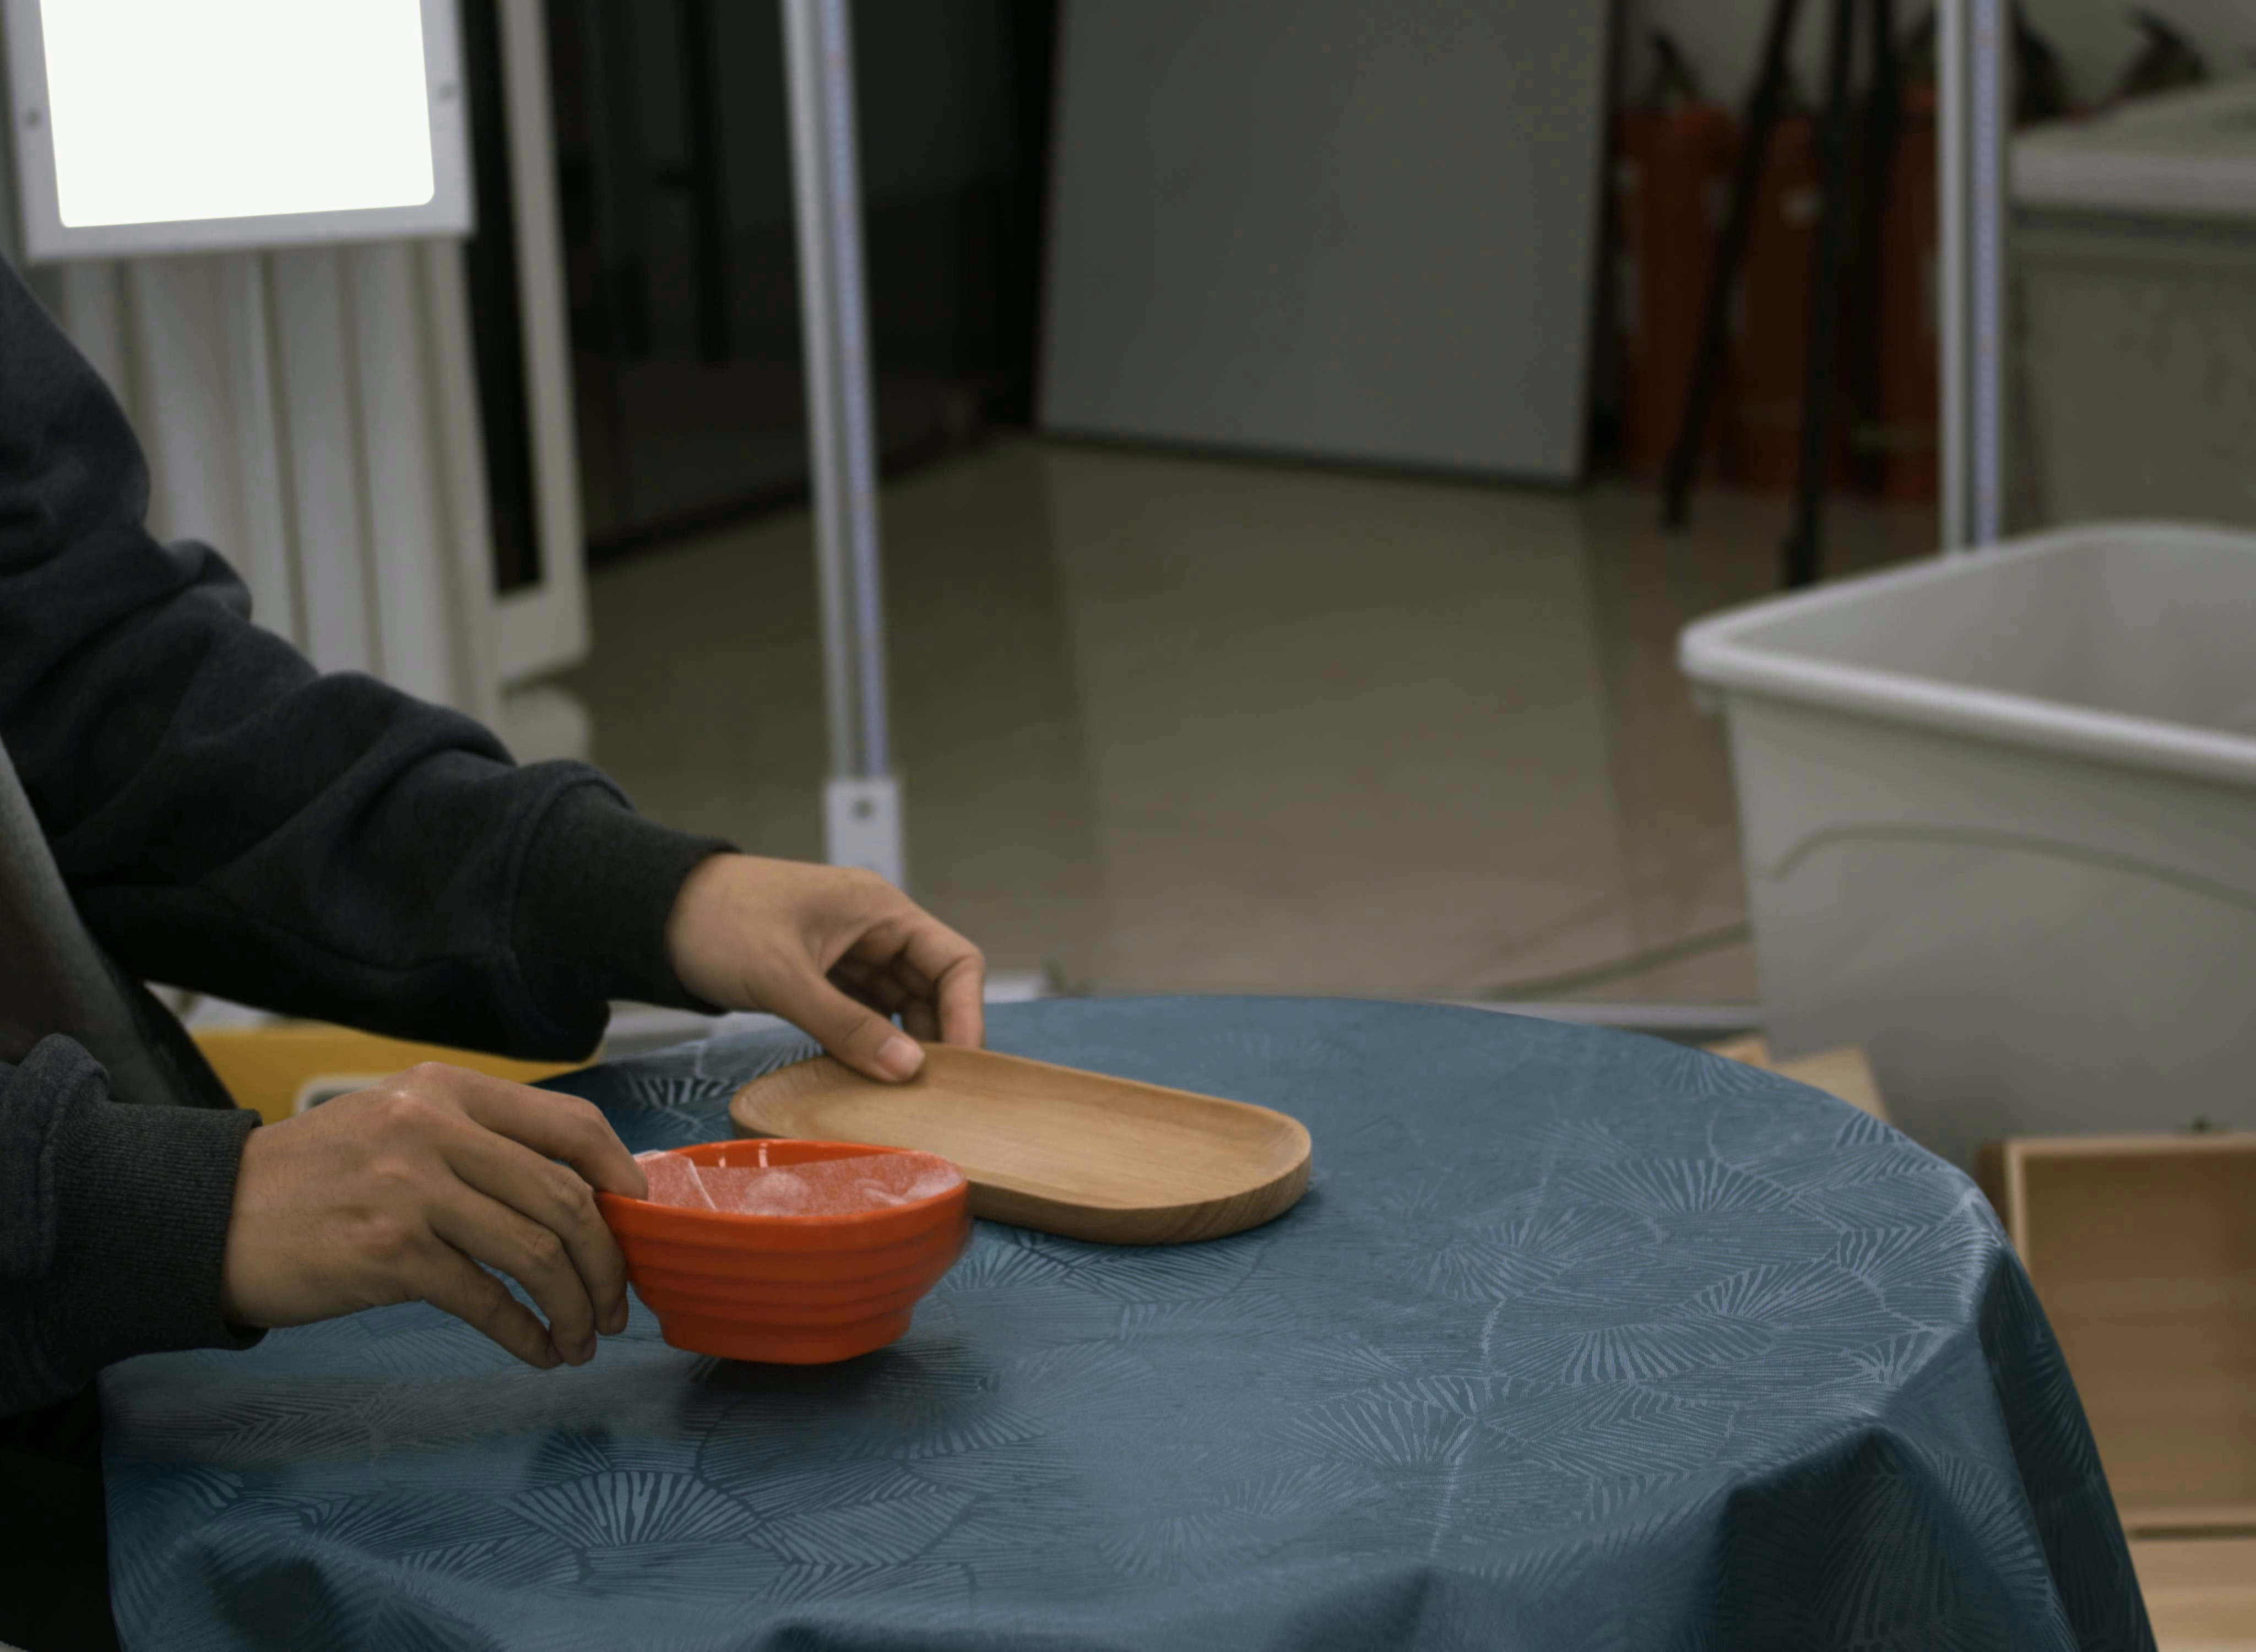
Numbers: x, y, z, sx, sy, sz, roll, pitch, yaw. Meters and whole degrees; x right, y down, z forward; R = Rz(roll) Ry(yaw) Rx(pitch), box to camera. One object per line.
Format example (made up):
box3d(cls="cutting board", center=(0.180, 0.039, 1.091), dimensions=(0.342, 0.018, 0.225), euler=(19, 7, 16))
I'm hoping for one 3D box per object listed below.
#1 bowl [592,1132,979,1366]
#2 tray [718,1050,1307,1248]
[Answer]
box3d(cls="bowl", center=(-0.102, 0.128, 1.621), dimensions=(0.117, 0.052, 0.119), euler=(1, 9, -1))
box3d(cls="tray", center=(-0.040, 0.107, 1.801), dimensions=(0.233, 0.020, 0.100), euler=(7, 19, 41))
